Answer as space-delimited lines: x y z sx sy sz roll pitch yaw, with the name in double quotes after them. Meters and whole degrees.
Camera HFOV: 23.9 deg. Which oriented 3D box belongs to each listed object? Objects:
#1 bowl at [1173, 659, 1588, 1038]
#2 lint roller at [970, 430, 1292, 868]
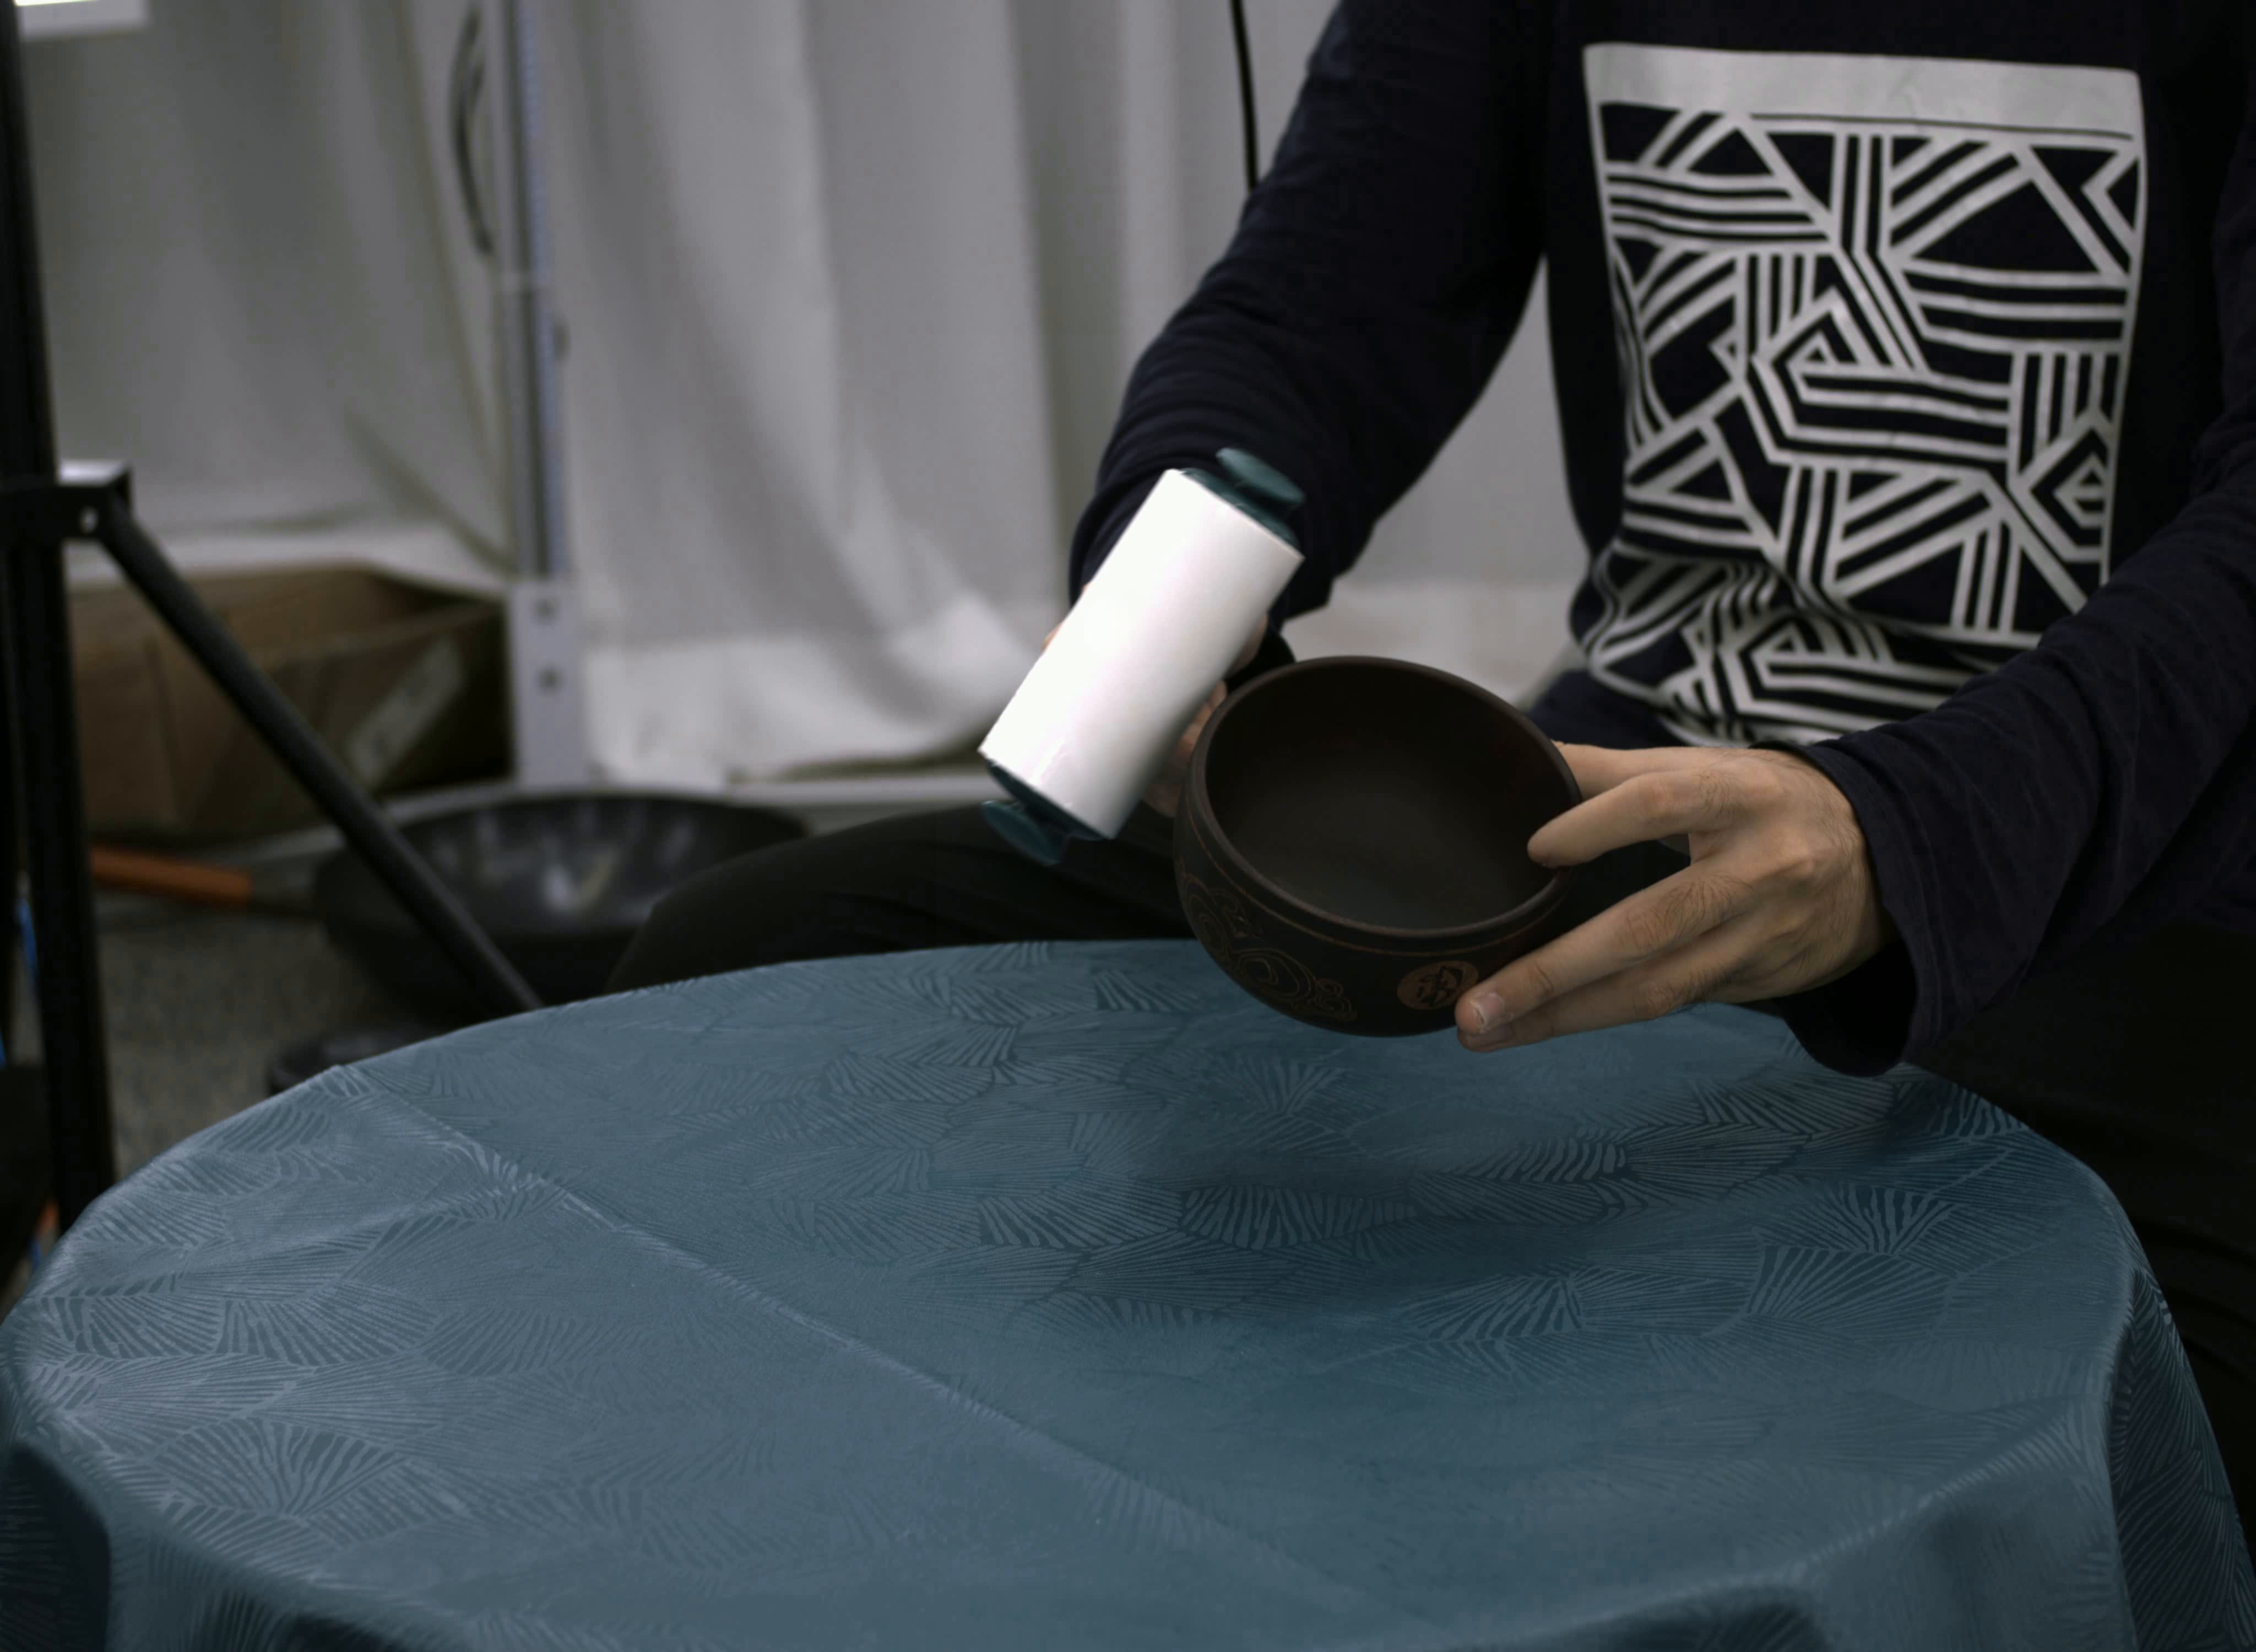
0.069 0.015 1.523 0.117 0.070 0.119 5 40 -6 "bowl"
0.006 -0.047 1.610 0.048 0.134 0.179 34 1 4 "lint roller"
